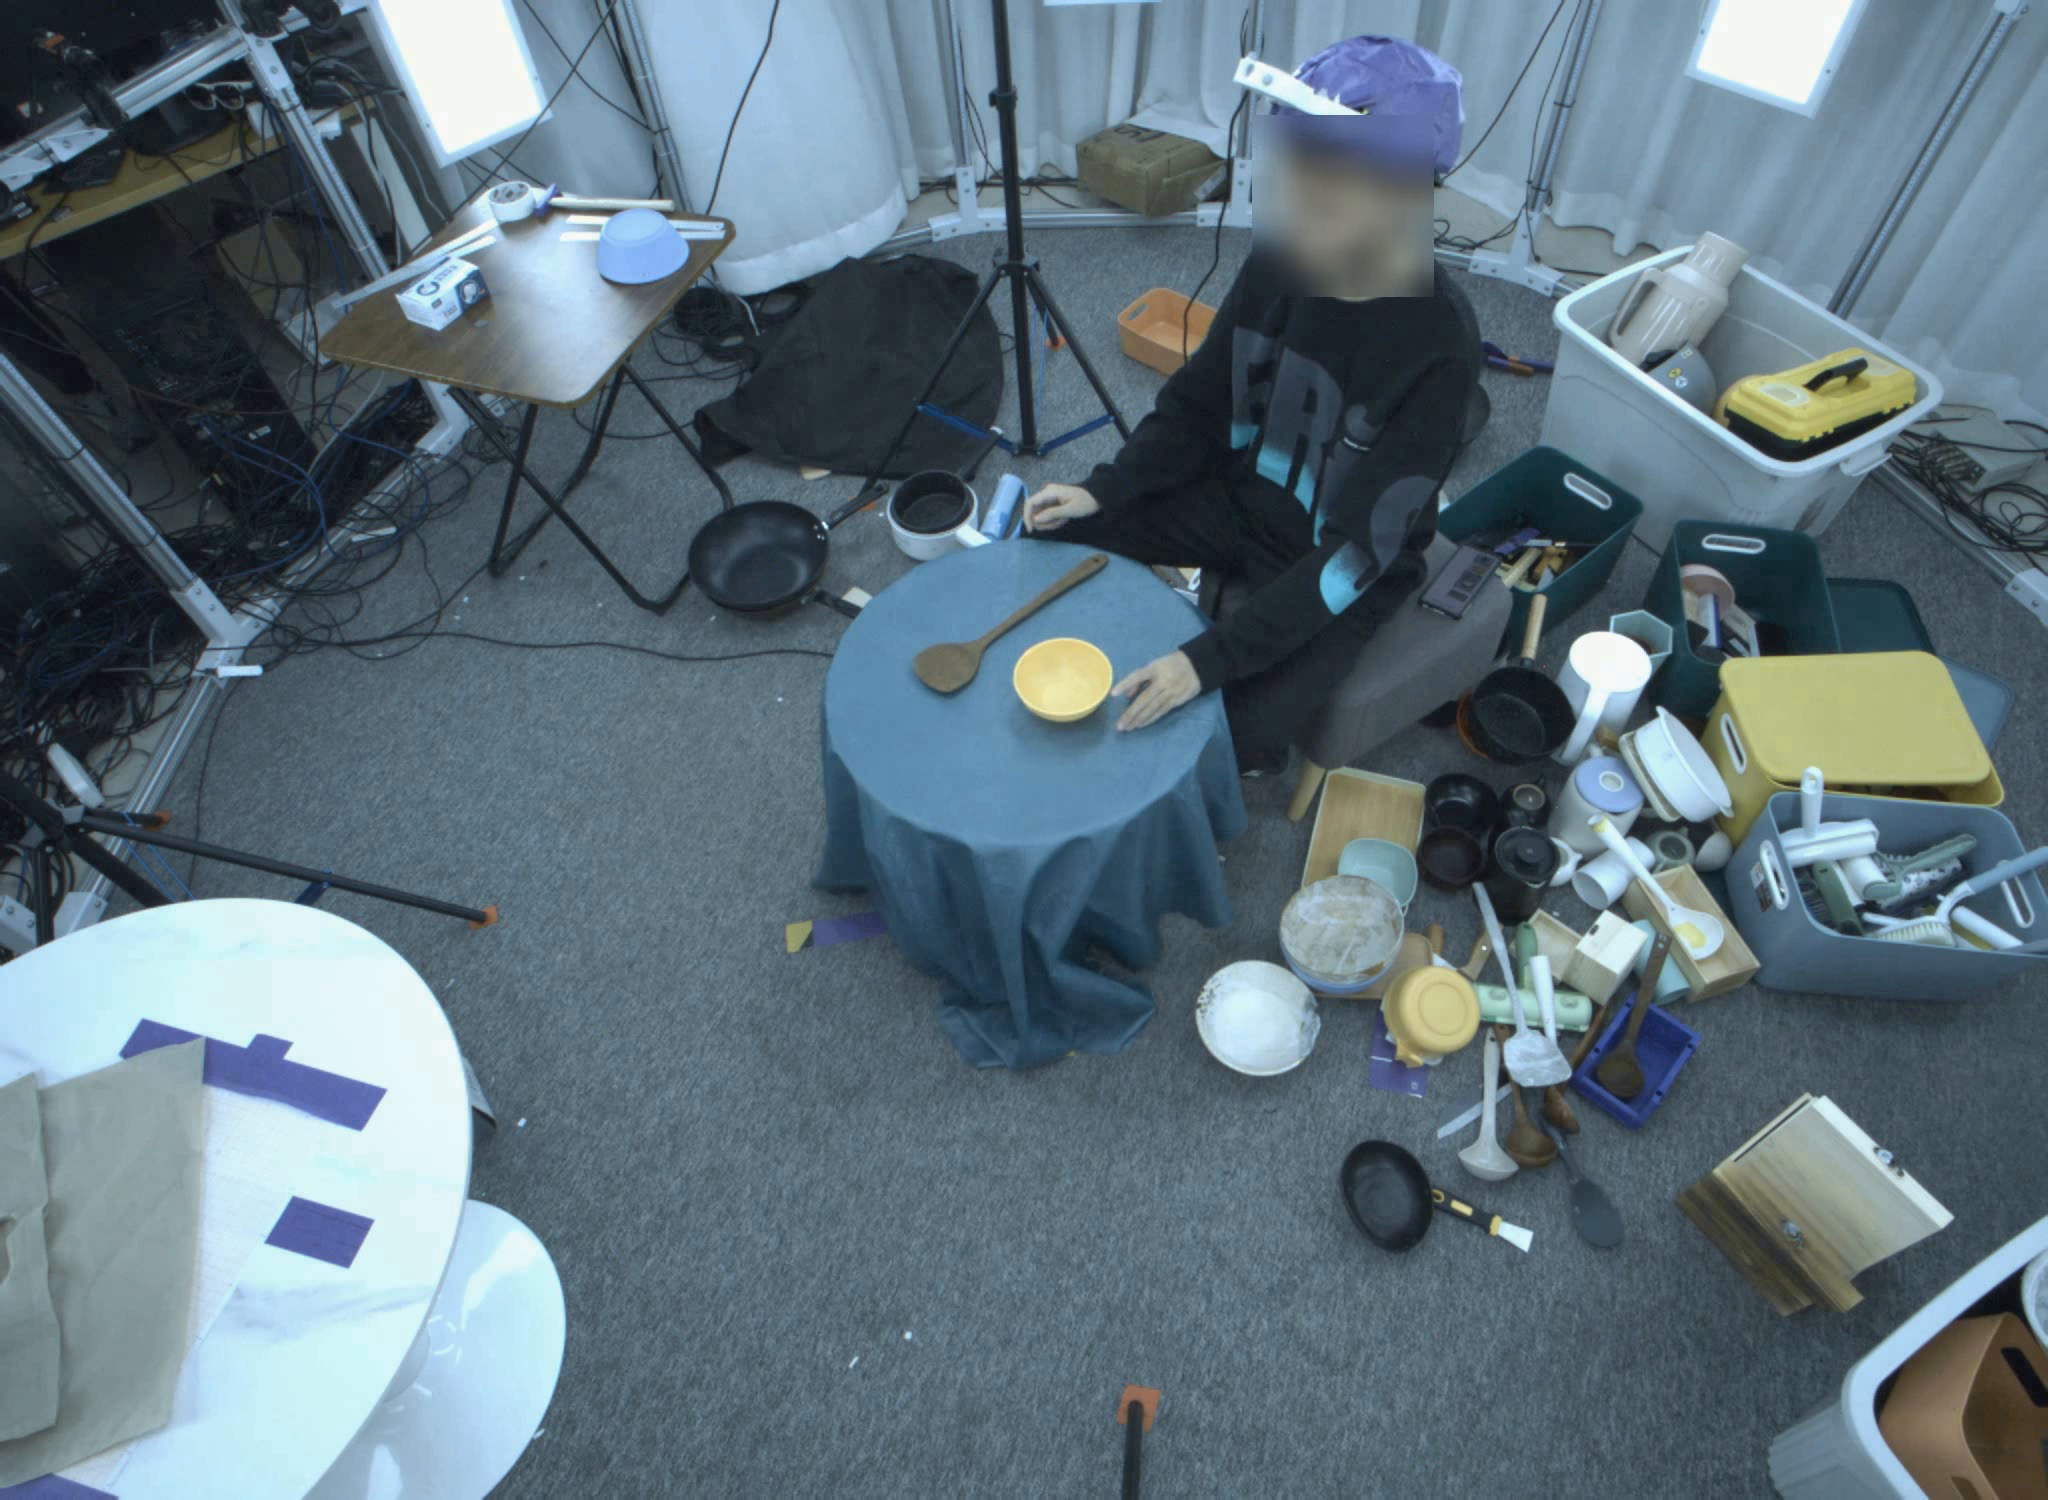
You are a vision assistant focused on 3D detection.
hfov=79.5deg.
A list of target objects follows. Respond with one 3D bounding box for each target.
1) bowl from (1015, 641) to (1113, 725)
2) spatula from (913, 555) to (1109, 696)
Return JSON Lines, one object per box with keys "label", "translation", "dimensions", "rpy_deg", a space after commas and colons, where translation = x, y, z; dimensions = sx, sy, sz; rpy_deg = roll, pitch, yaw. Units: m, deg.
{"label": "bowl", "translation": [0.059, -0.088, 1.824], "dimensions": [0.145, 0.060, 0.144], "rpy_deg": [1, 56, 0]}
{"label": "spatula", "translation": [-0.008, -0.207, 1.935], "dimensions": [0.389, 0.016, 0.094], "rpy_deg": [-38, 63, -22]}
